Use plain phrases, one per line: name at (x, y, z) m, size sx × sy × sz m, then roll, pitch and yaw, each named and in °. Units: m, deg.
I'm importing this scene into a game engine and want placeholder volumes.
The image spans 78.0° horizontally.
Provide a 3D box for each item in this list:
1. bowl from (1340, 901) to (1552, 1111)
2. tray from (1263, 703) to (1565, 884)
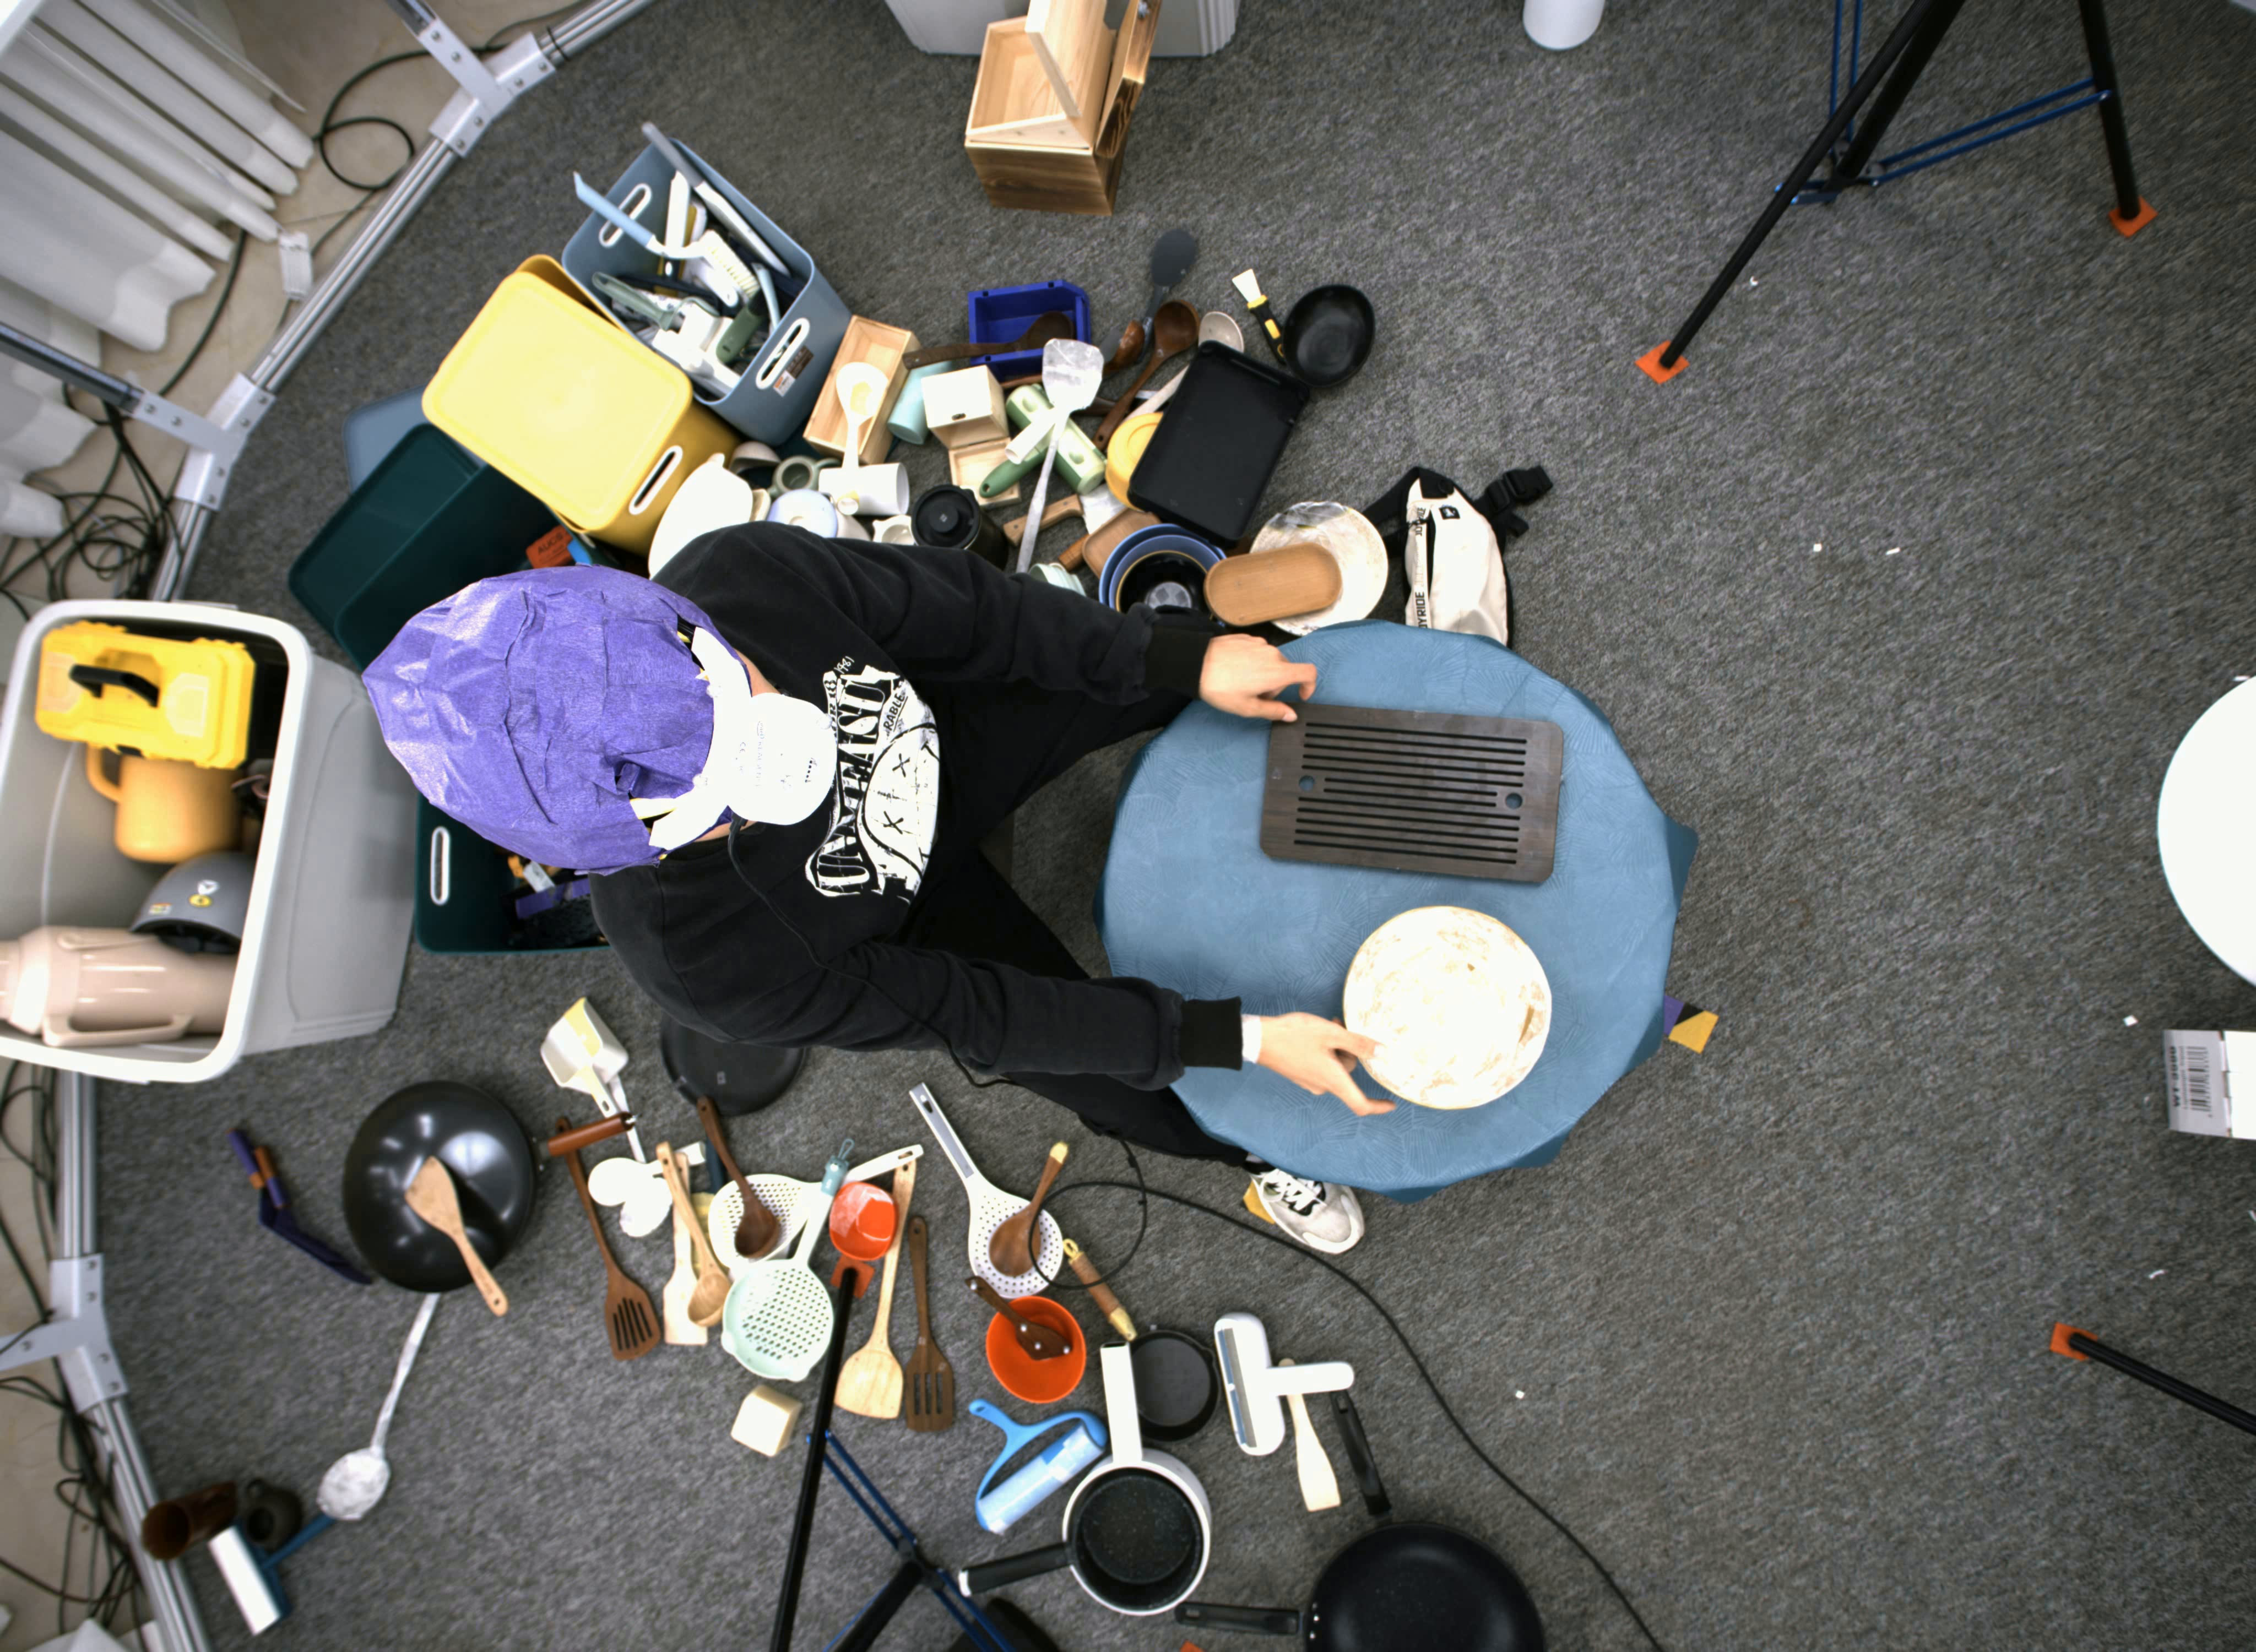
bowl at (0.318, 0.178, 1.401) m, size 0.215 × 0.094 × 0.213 m, roll -1°, pitch 86°, yaw 10°
tray at (0.301, -0.038, 1.458) m, size 0.307 × 0.018 × 0.169 m, roll 5°, pitch 87°, yaw 11°
